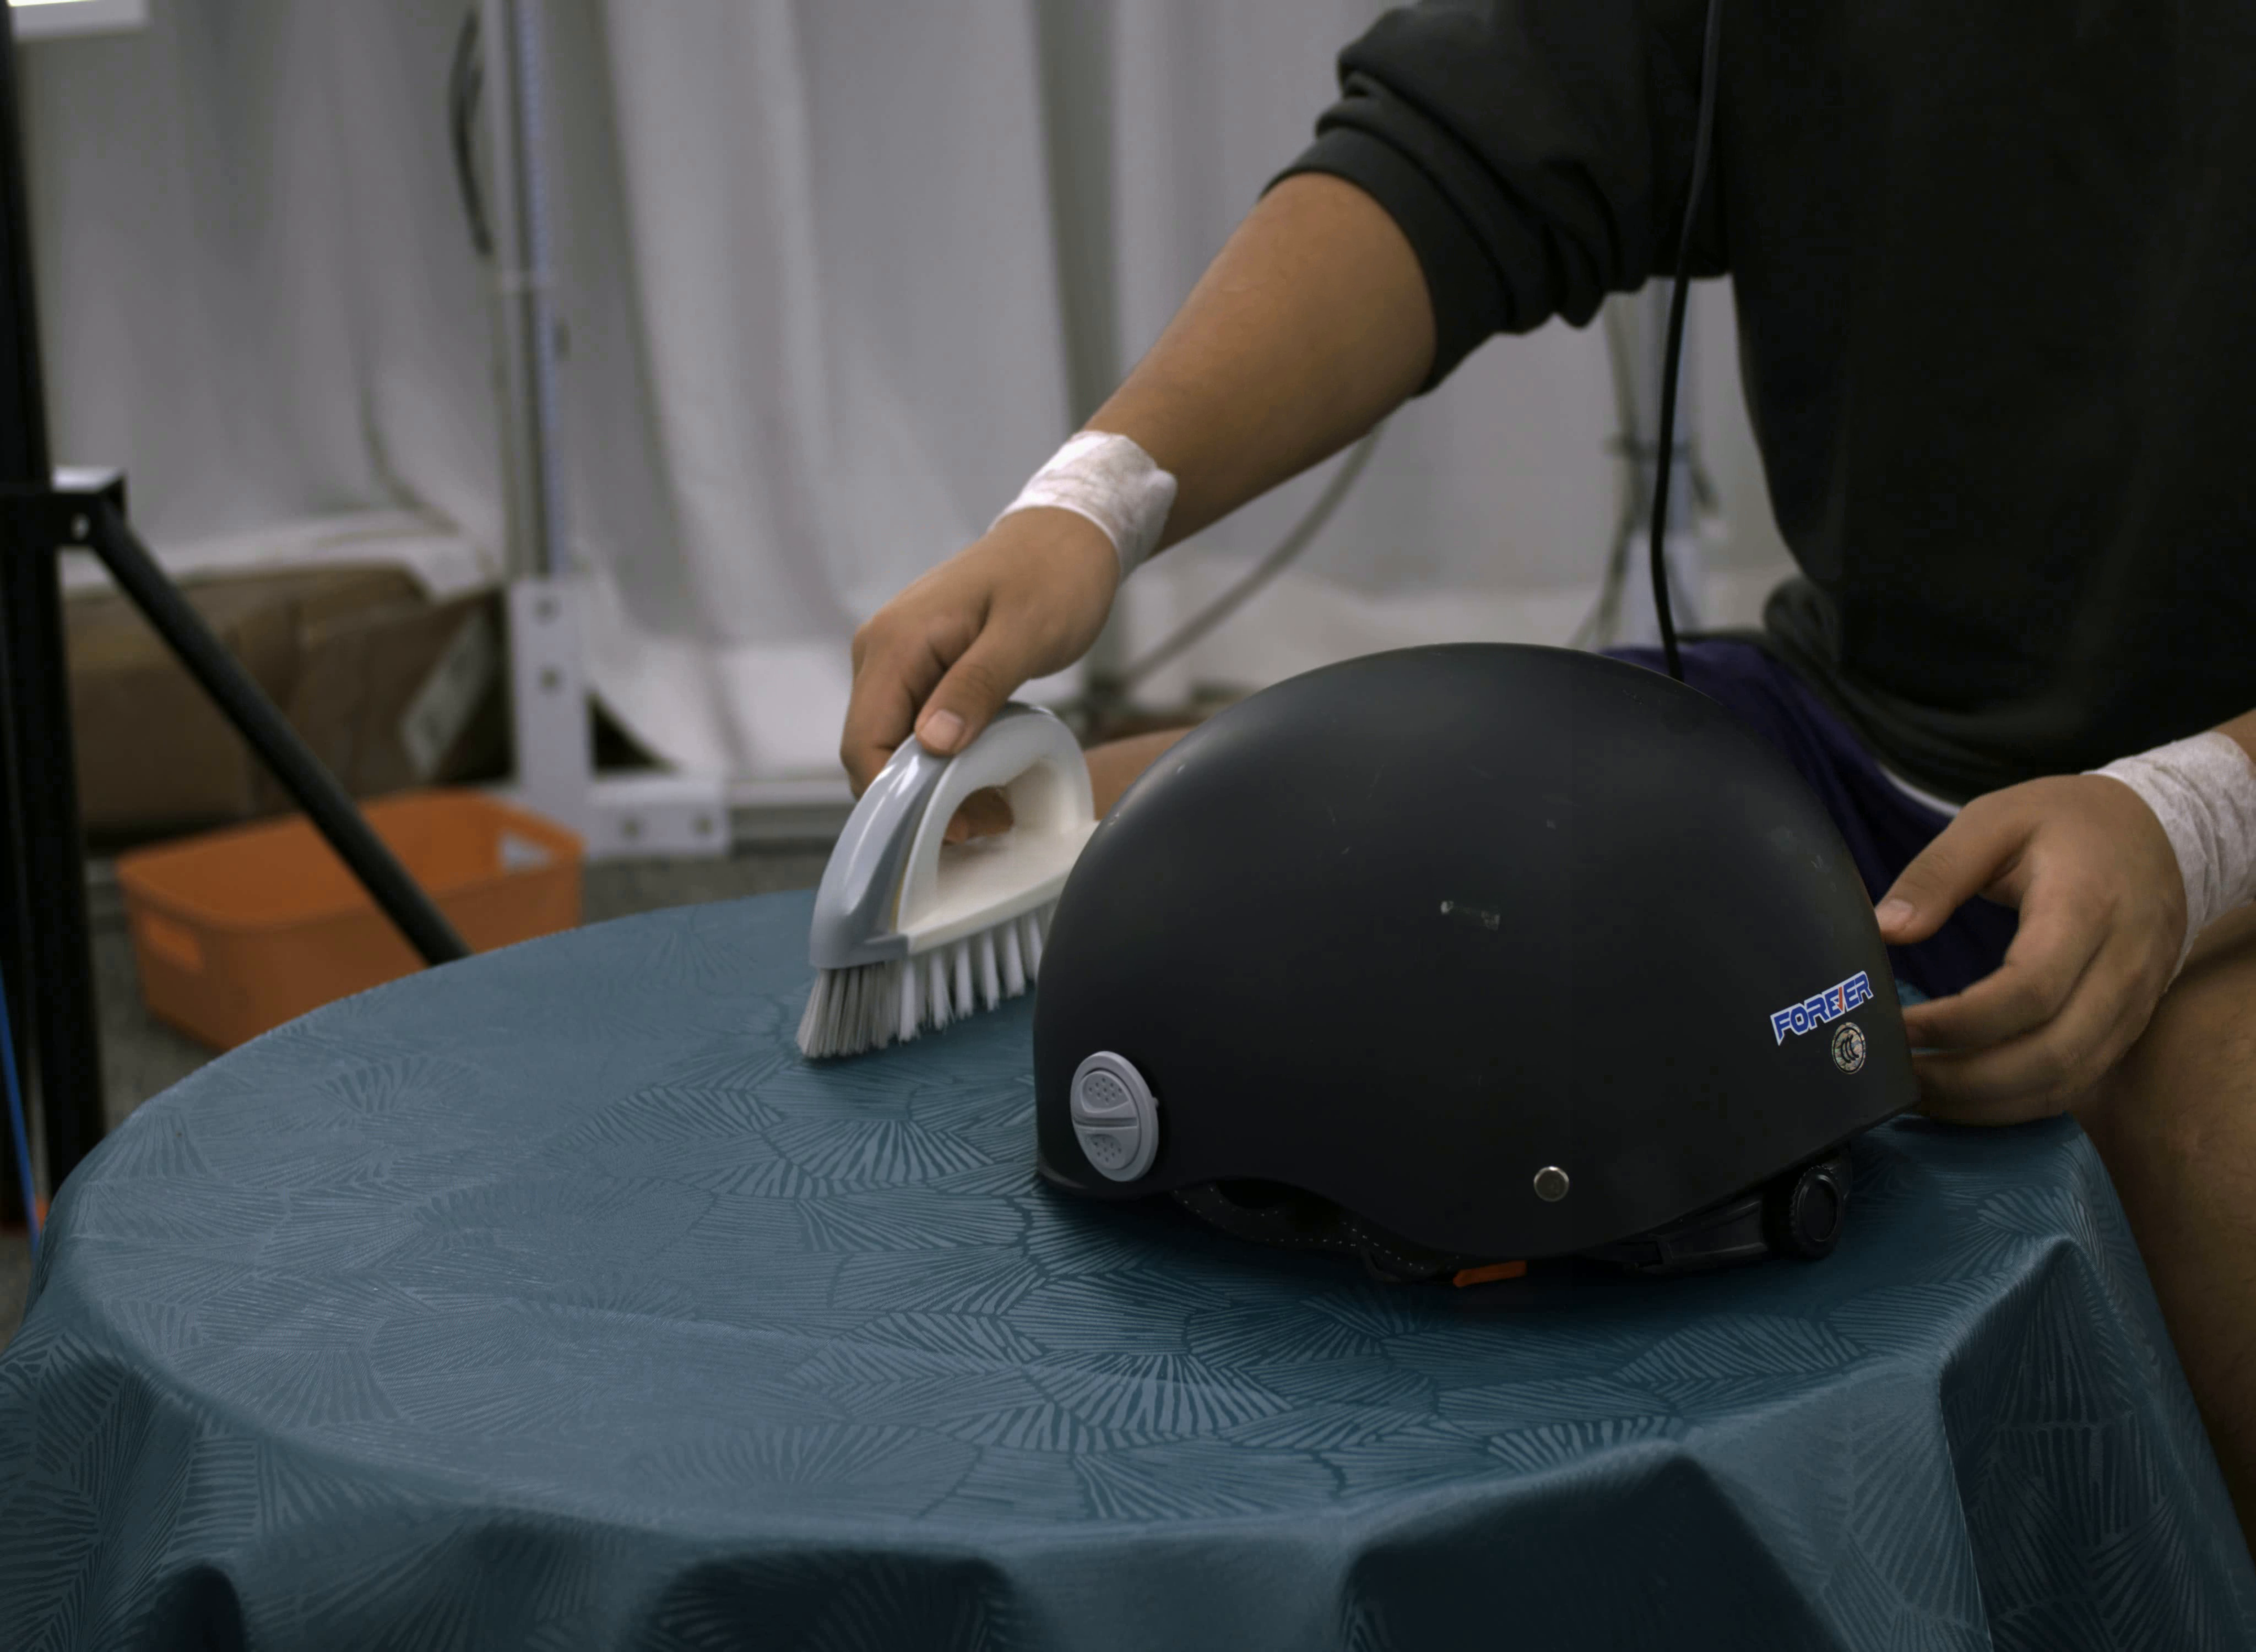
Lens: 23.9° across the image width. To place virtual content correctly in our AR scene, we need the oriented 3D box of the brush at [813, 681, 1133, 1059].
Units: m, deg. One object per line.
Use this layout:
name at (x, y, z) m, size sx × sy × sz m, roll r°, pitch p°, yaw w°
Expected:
brush at (-0.057, 0.009, 1.746) m, size 0.062 × 0.094 × 0.173 m, roll 7°, pitch 22°, yaw 29°

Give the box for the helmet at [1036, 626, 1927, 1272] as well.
helmet at (0.096, 0.027, 1.541) m, size 0.279 × 0.167 × 0.225 m, roll 9°, pitch 19°, yaw 42°
